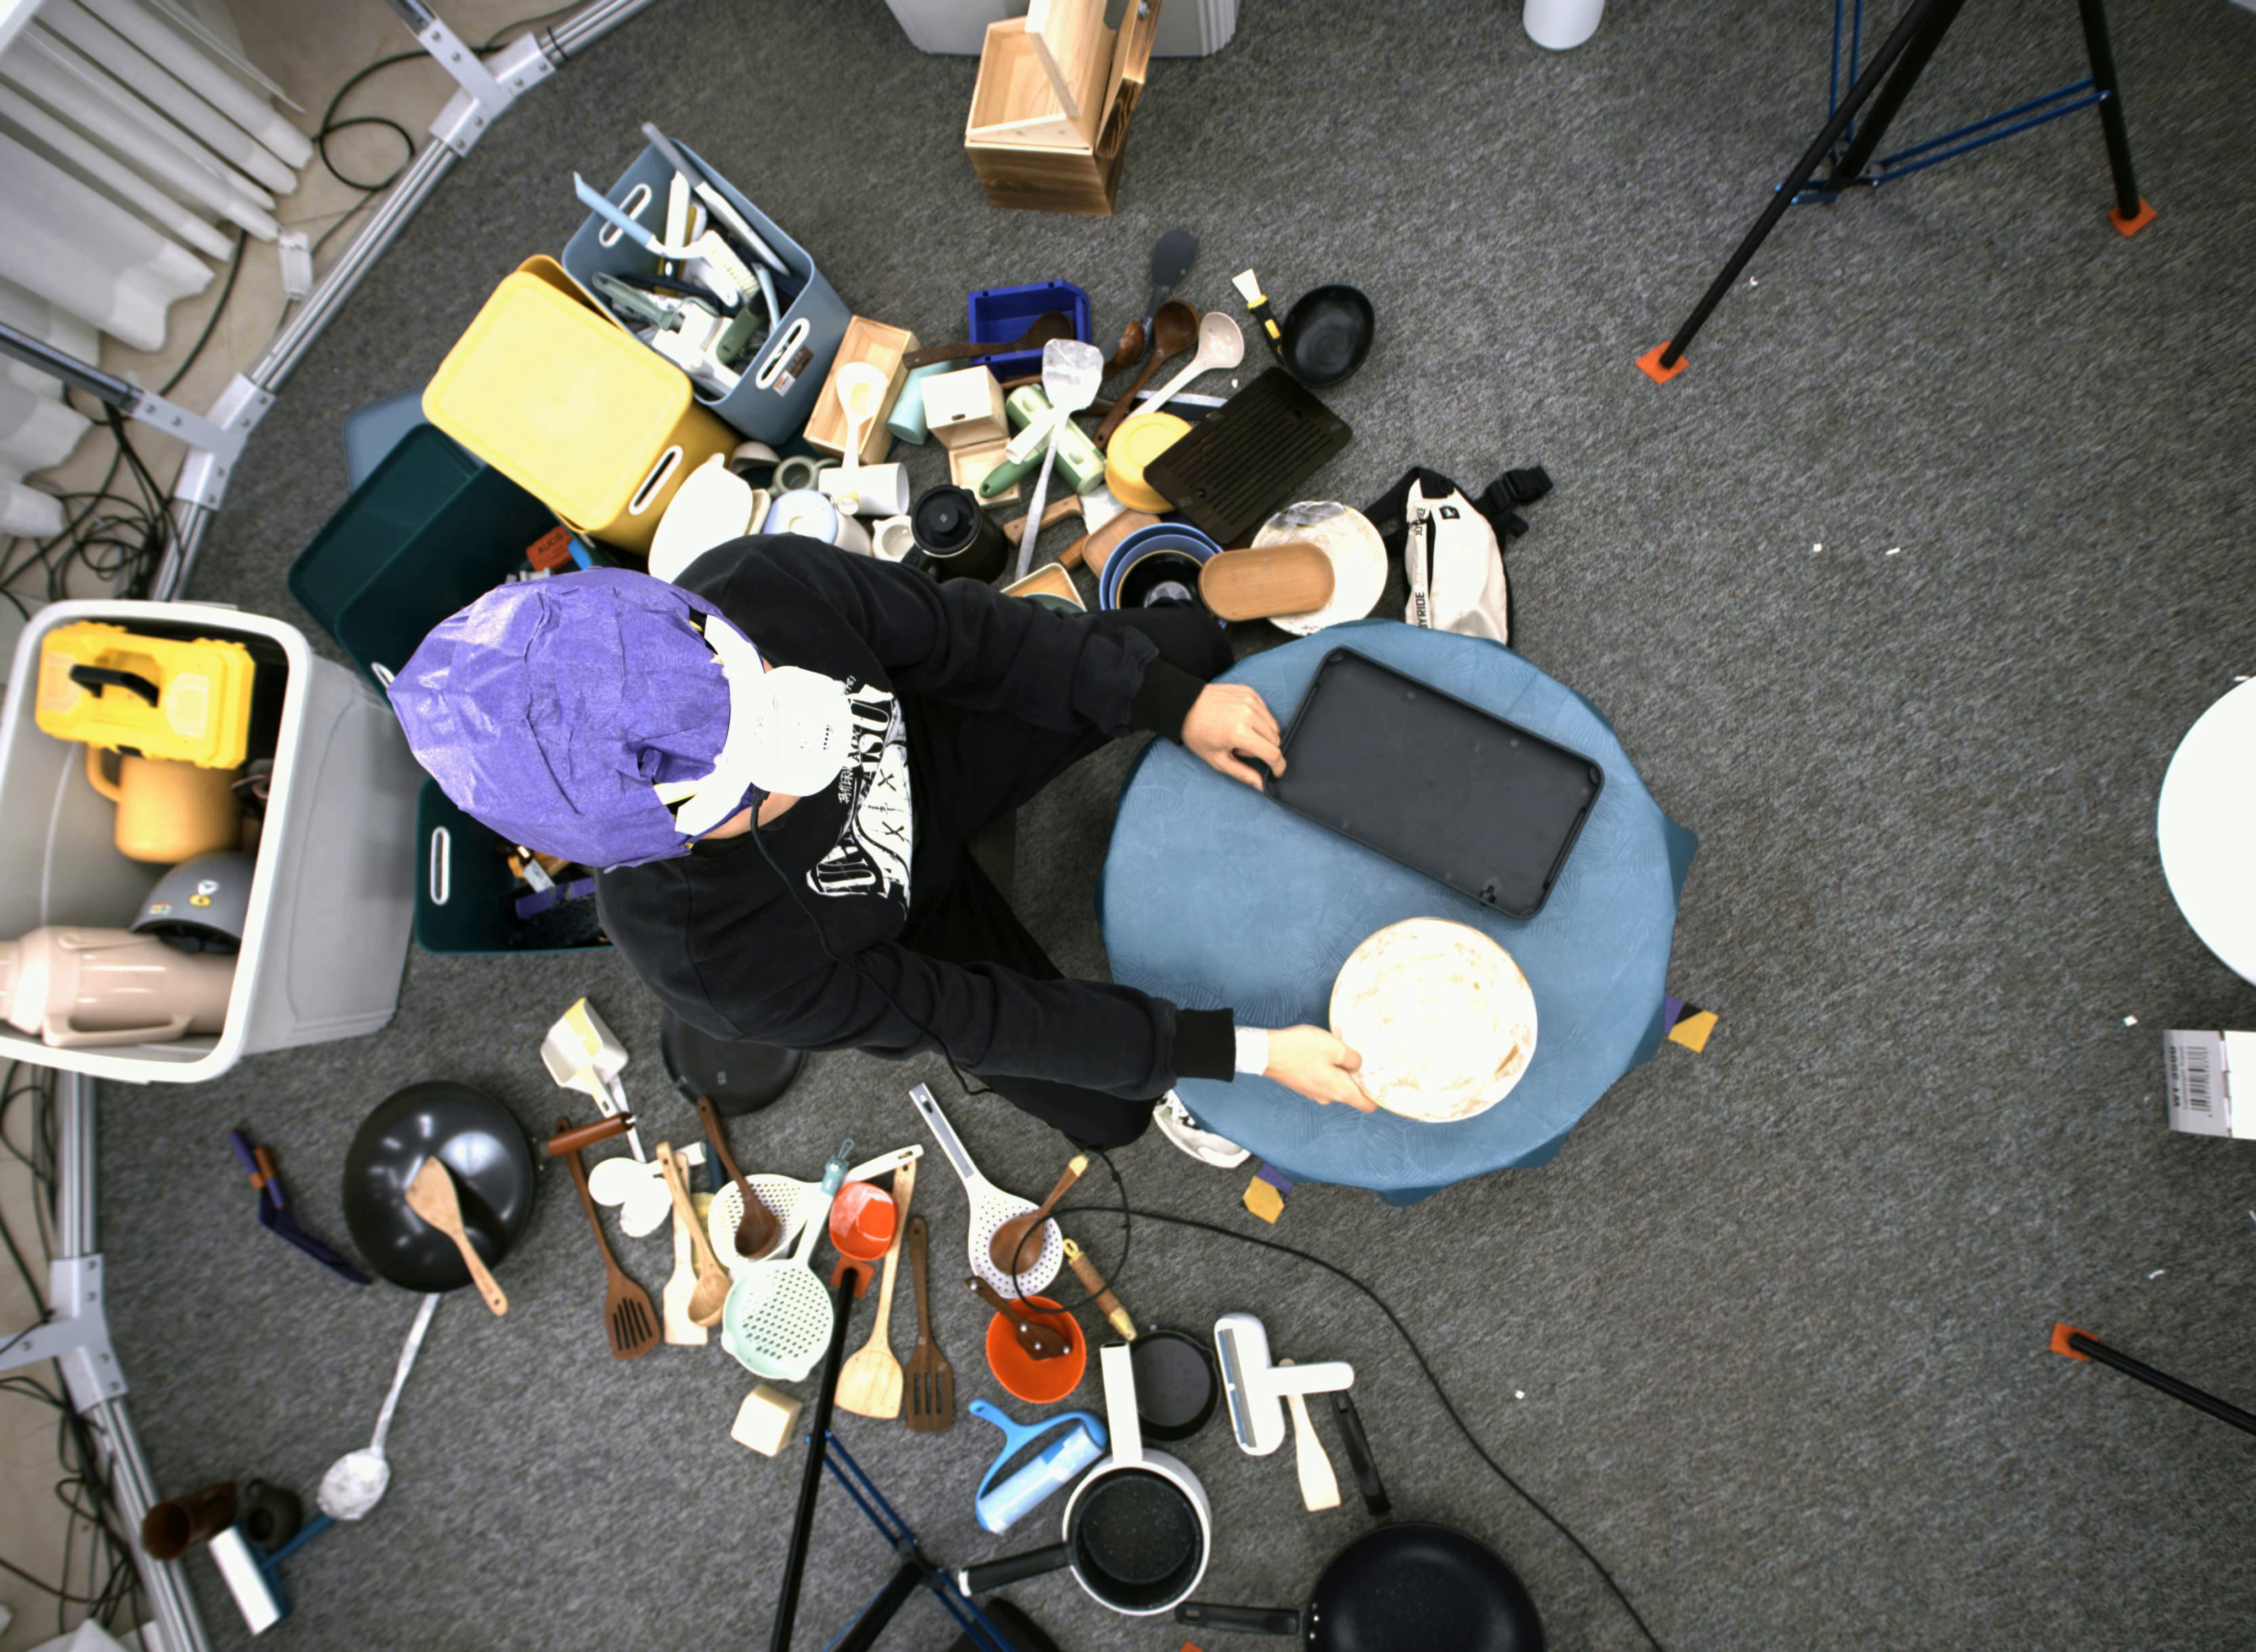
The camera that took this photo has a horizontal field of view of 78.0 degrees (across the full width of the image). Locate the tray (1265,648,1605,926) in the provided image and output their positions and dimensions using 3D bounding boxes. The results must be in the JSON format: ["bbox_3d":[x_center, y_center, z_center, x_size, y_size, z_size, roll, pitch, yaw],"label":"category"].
[{"bbox_3d":[0.319,-0.043,1.447,0.317,0.037,0.184,28,91,10],"label":"tray"}]

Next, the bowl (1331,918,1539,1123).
[{"bbox_3d":[0.310,0.187,1.400,0.216,0.094,0.215,0,92,16],"label":"bowl"}]
